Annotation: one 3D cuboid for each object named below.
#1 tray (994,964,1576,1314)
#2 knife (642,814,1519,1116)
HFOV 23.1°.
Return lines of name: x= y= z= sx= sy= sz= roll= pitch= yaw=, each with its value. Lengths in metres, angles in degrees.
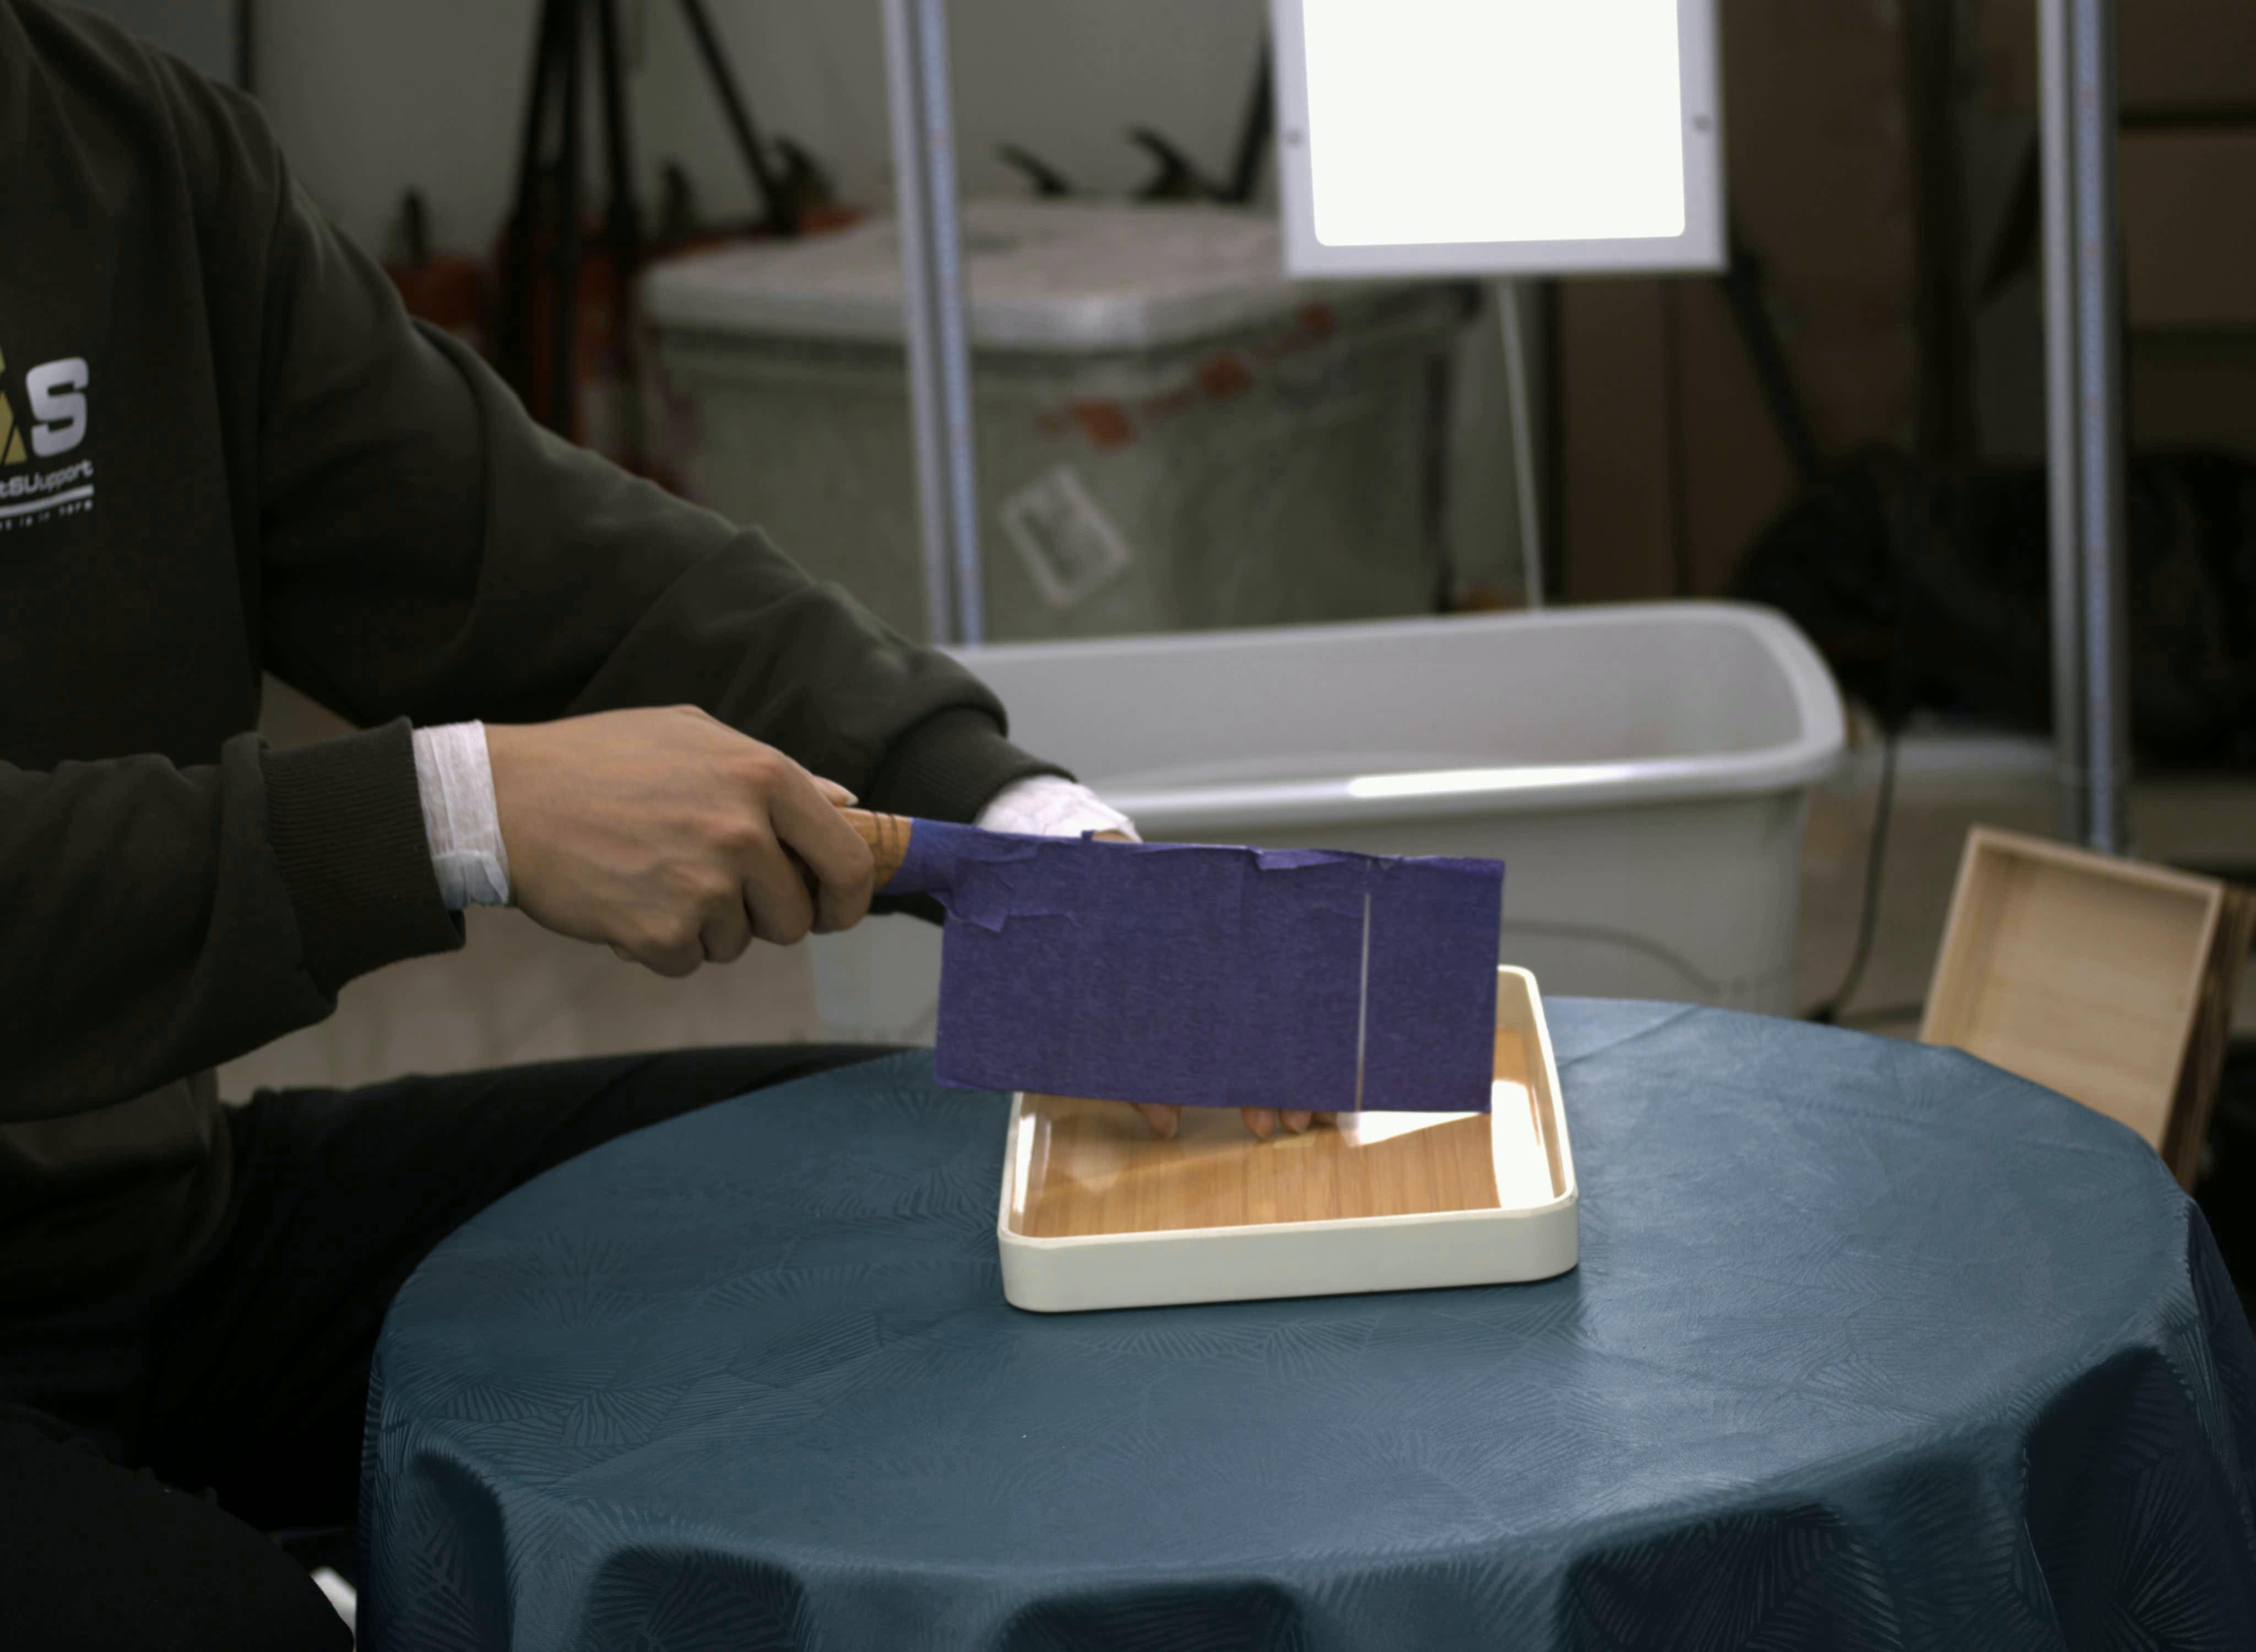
tray: x=0.054 y=0.105 z=1.914 sx=0.192 sy=0.027 sz=0.299 roll=-5 pitch=14 yaw=3
knife: x=-0.012 y=0.046 z=1.893 sx=0.311 sy=0.104 sz=0.032 roll=2 pitch=1 yaw=-13
